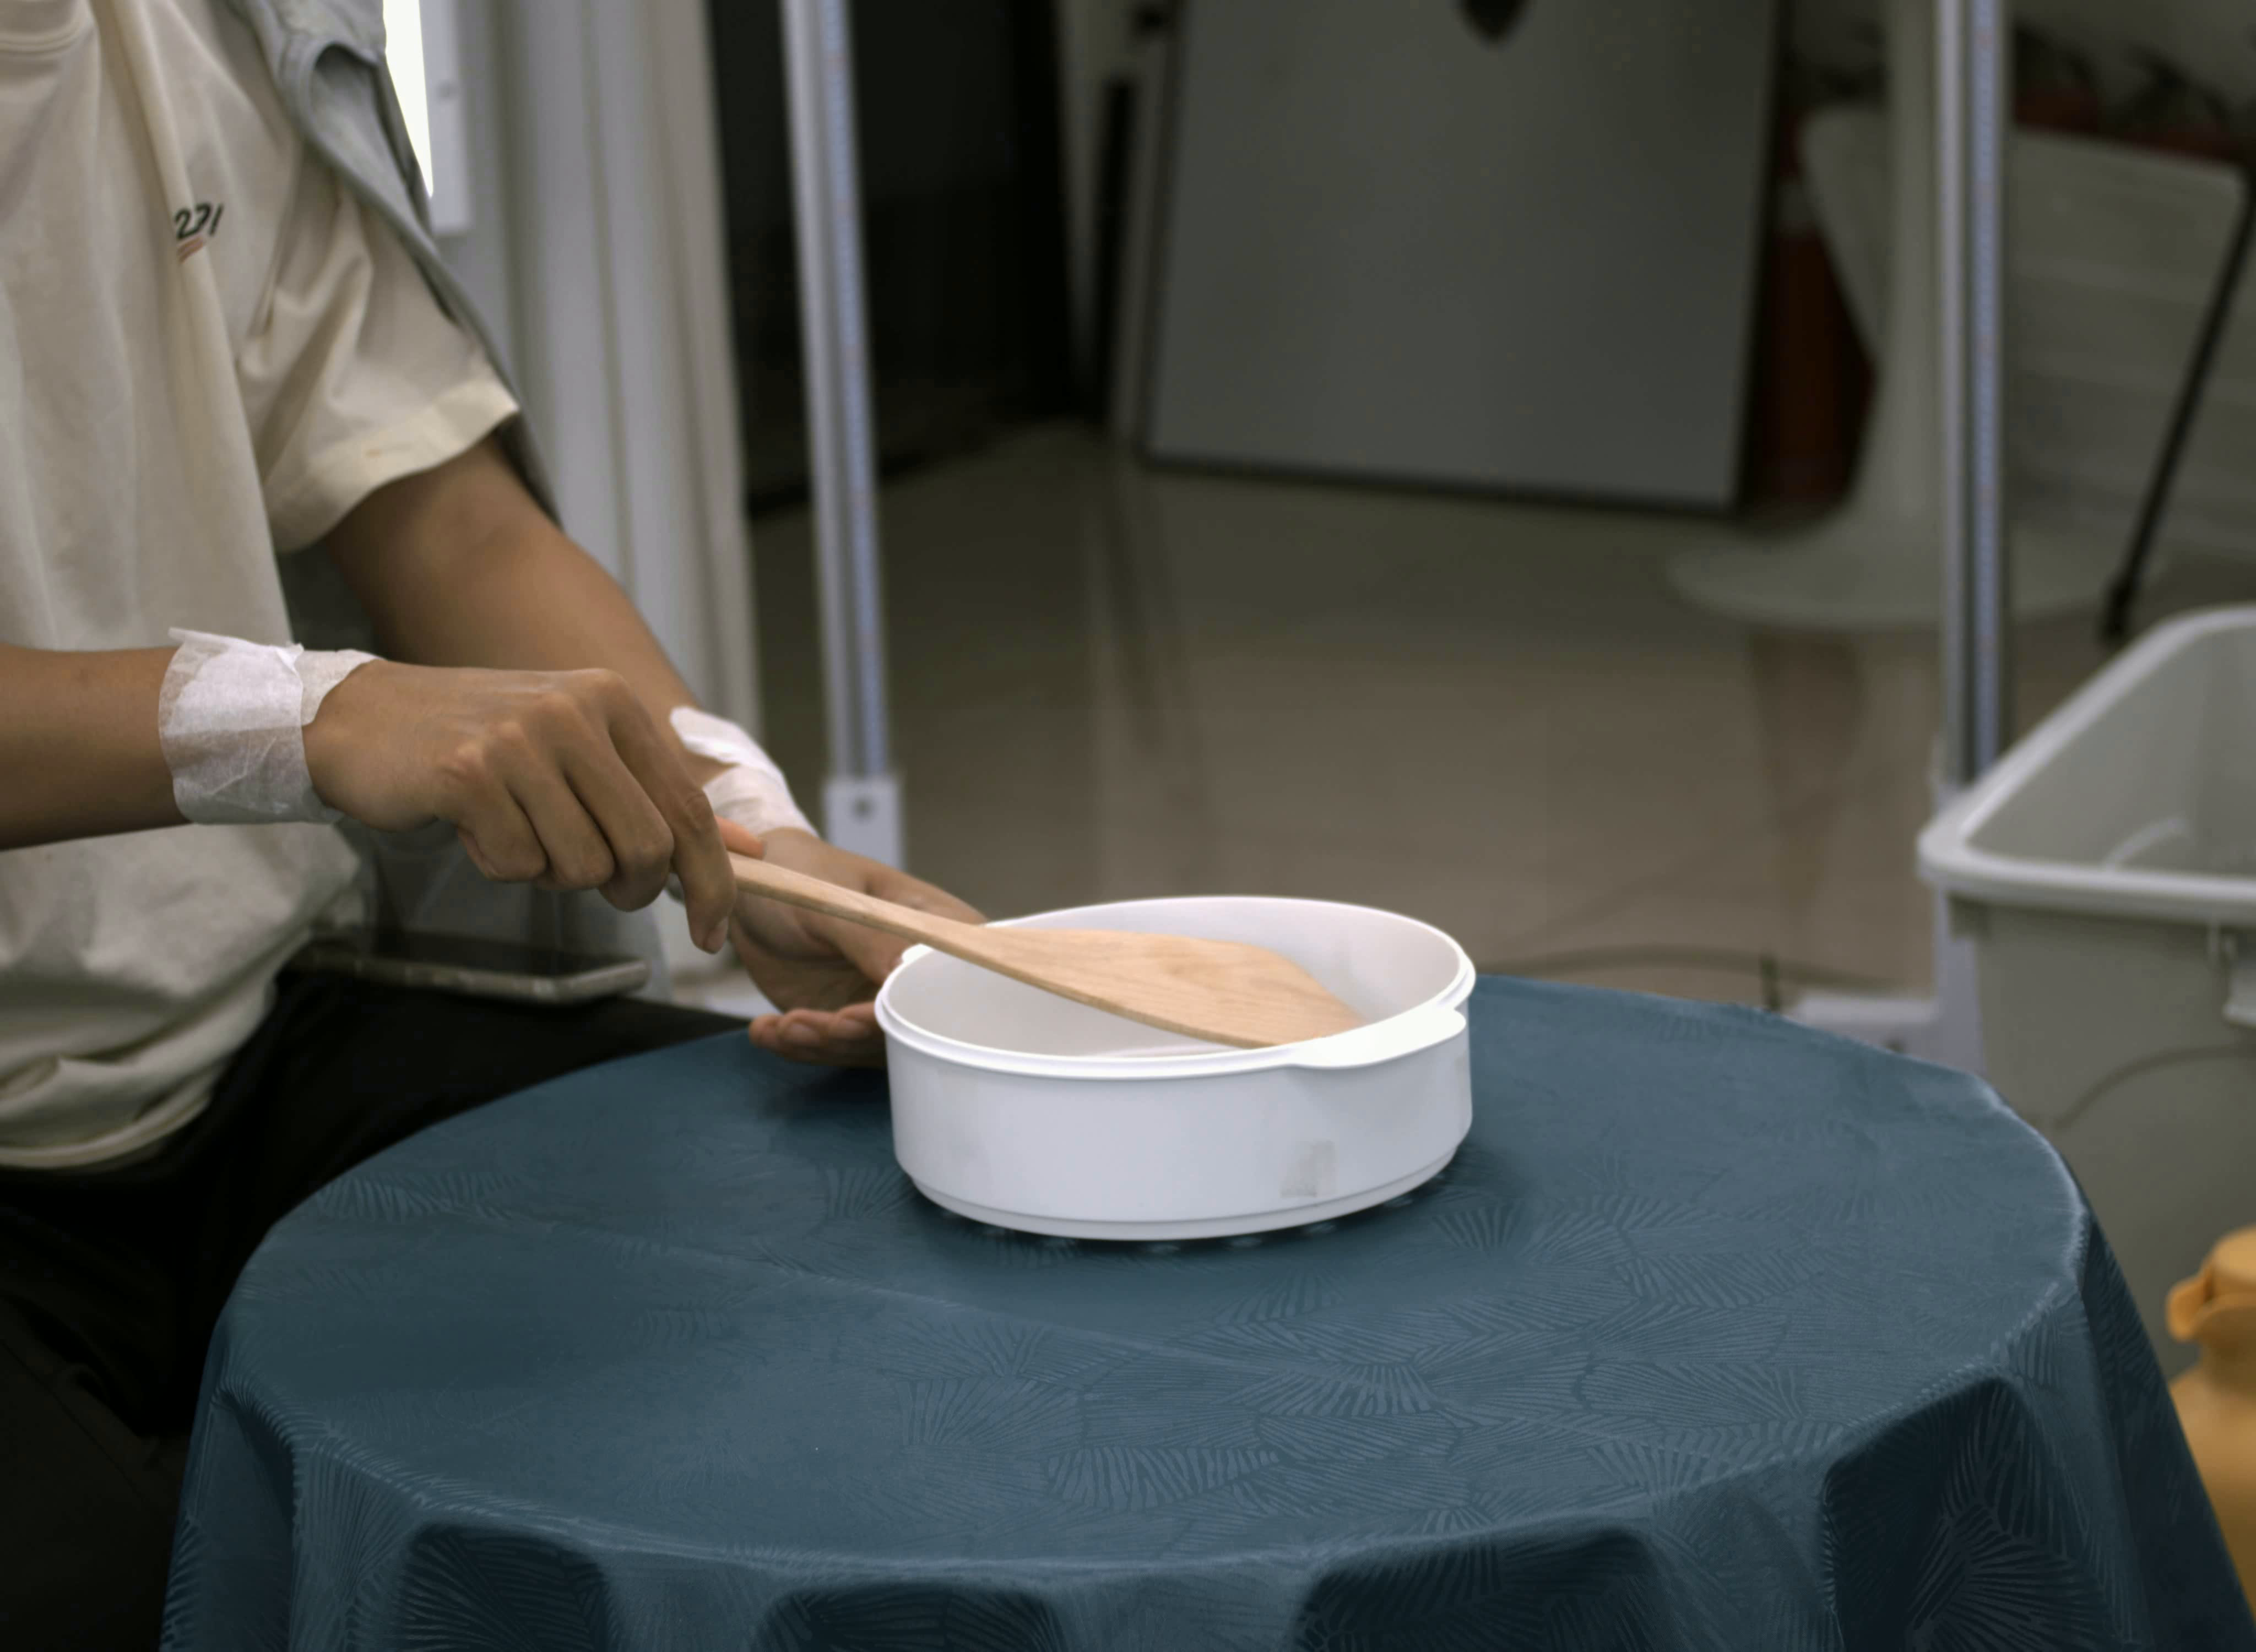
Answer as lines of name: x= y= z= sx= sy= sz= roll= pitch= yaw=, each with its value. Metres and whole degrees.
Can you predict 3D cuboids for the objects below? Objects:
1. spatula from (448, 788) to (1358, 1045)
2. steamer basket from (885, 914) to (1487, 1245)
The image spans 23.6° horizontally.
spatula: x=-0.069 y=0.028 z=1.765 sx=0.321 sy=0.017 sz=0.081 roll=15 pitch=18 yaw=-23
steamer basket: x=0.021 y=0.084 z=1.784 sx=0.197 sy=0.070 sz=0.233 roll=-14 pitch=16 yaw=-39
